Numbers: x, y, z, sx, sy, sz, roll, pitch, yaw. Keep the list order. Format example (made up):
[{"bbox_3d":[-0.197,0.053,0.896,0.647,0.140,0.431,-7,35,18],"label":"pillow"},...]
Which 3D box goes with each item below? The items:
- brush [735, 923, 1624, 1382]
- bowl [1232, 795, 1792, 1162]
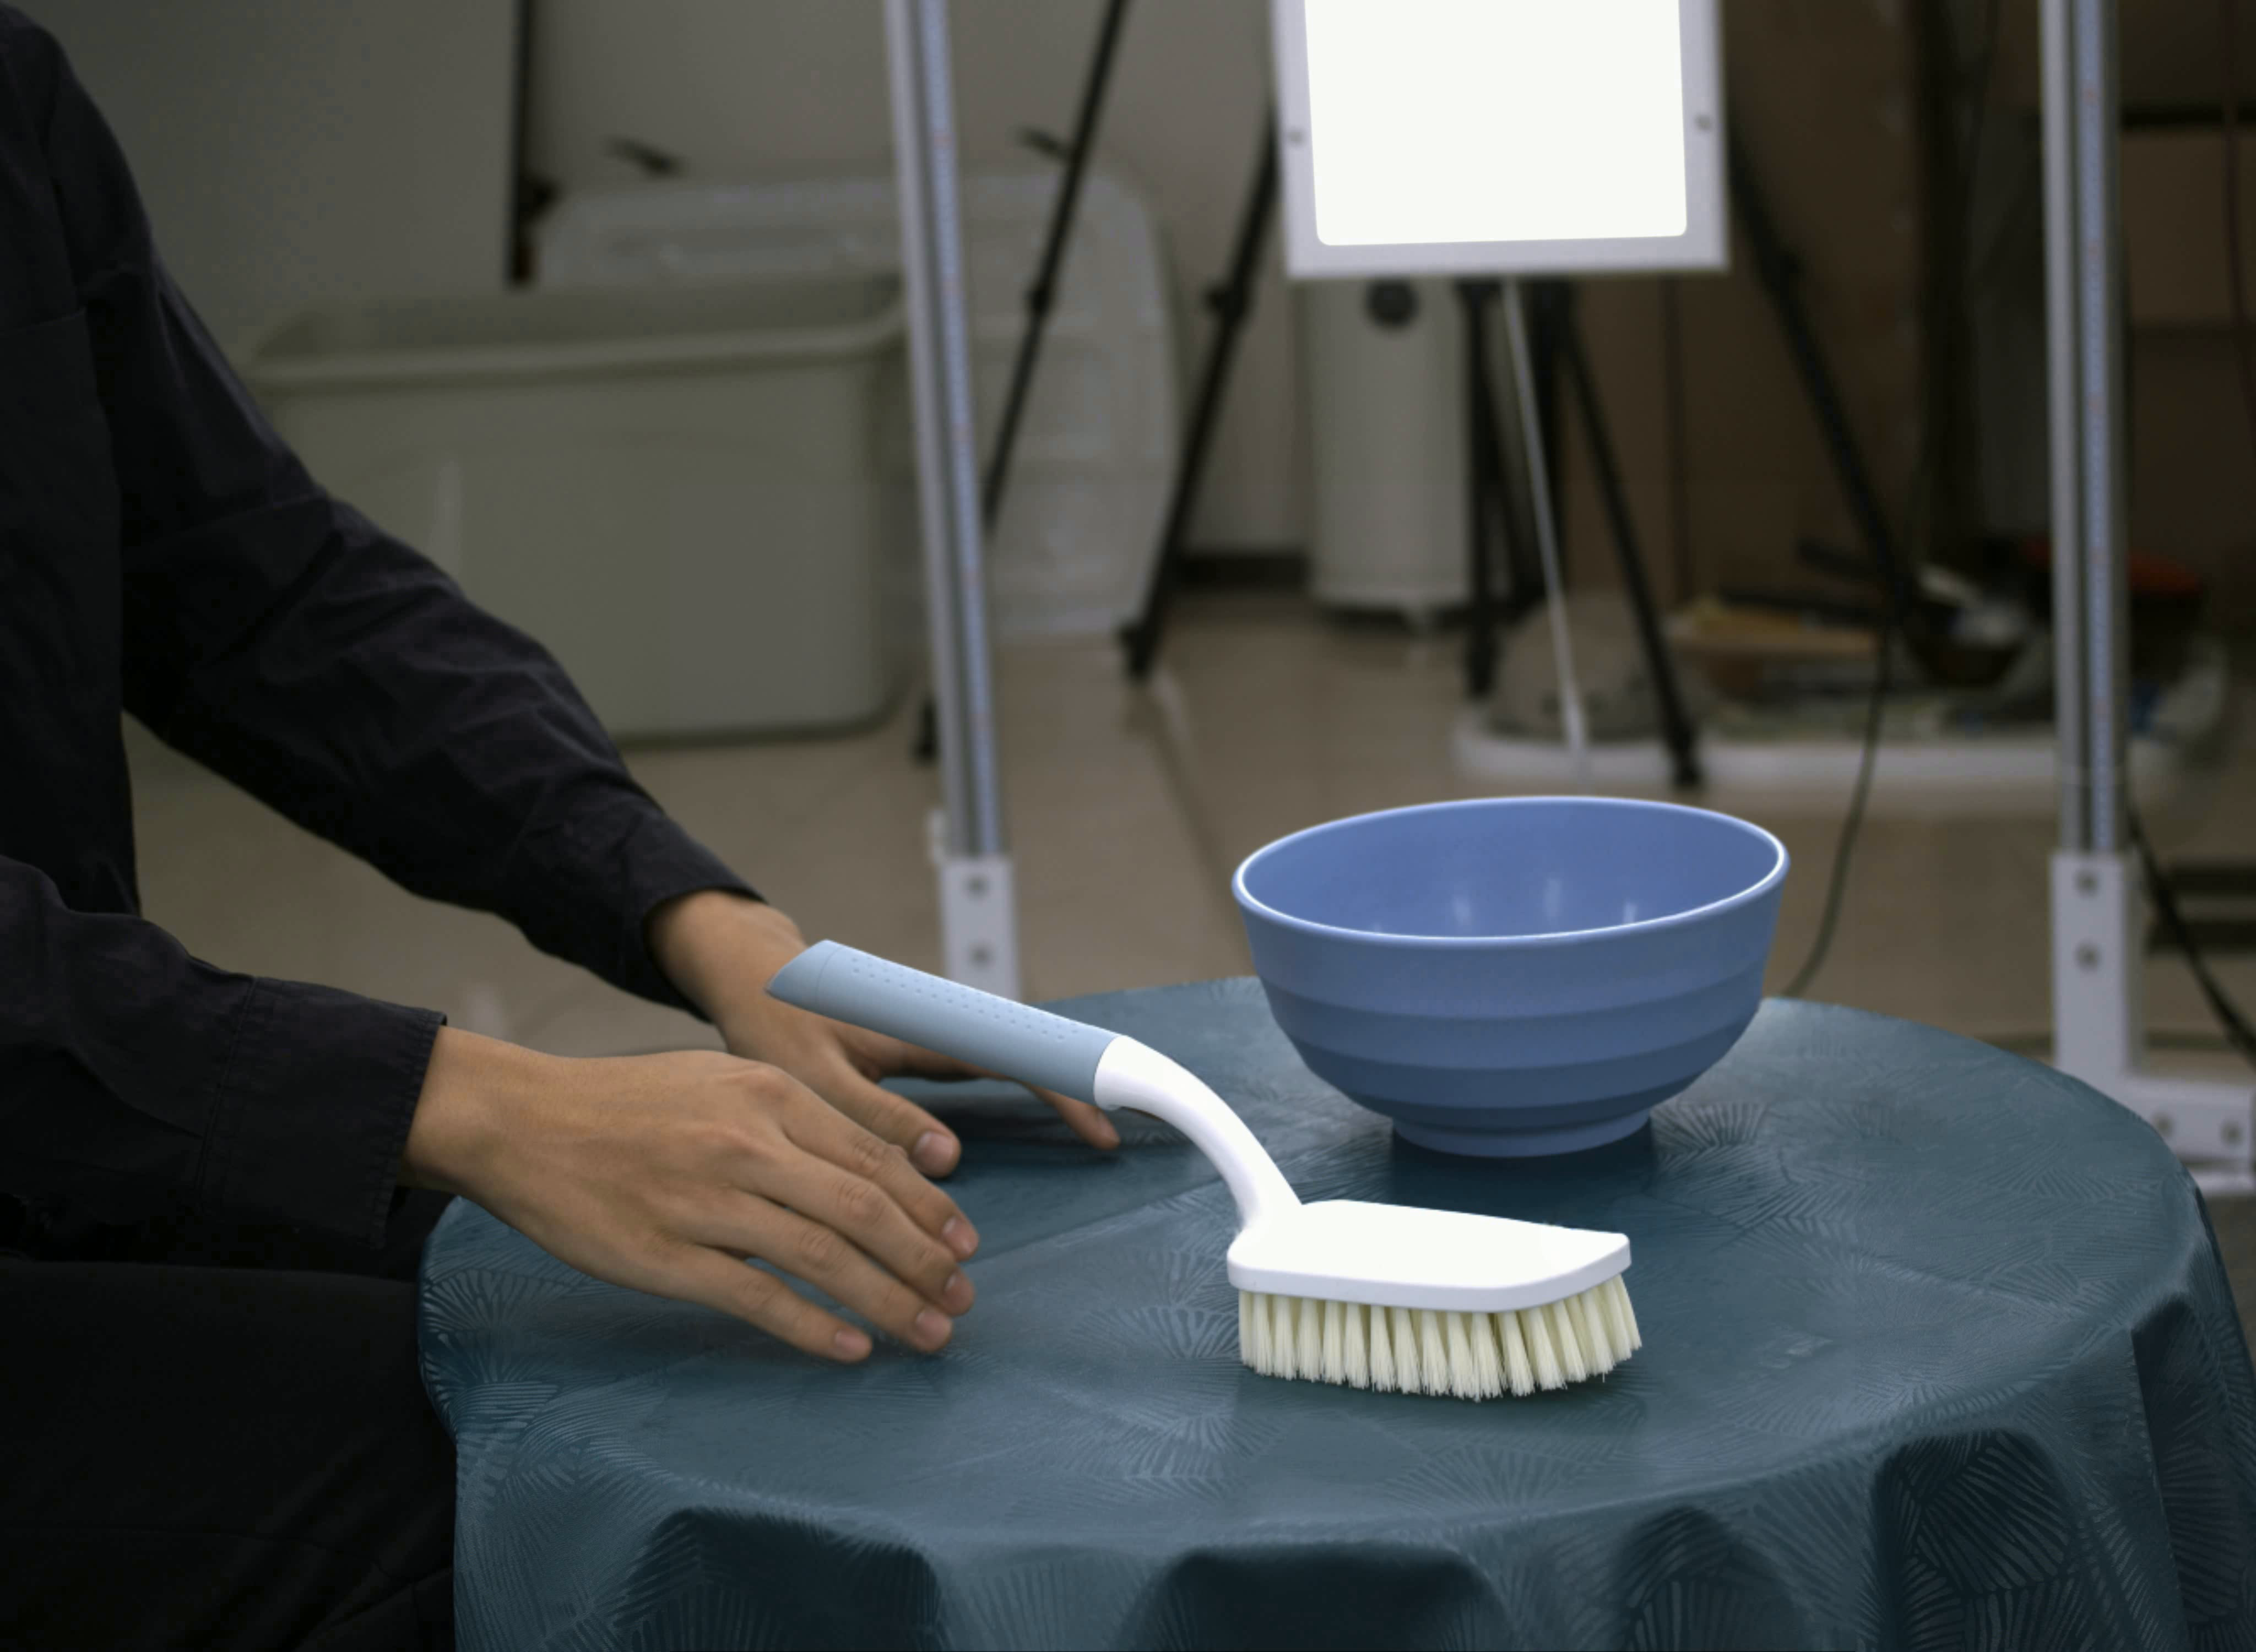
[{"bbox_3d":[0.010,0.117,1.752,0.331,0.084,0.082,17,-14,29],"label":"brush"},{"bbox_3d":[0.137,0.059,1.930,0.196,0.096,0.196,-5,14,0],"label":"bowl"}]
